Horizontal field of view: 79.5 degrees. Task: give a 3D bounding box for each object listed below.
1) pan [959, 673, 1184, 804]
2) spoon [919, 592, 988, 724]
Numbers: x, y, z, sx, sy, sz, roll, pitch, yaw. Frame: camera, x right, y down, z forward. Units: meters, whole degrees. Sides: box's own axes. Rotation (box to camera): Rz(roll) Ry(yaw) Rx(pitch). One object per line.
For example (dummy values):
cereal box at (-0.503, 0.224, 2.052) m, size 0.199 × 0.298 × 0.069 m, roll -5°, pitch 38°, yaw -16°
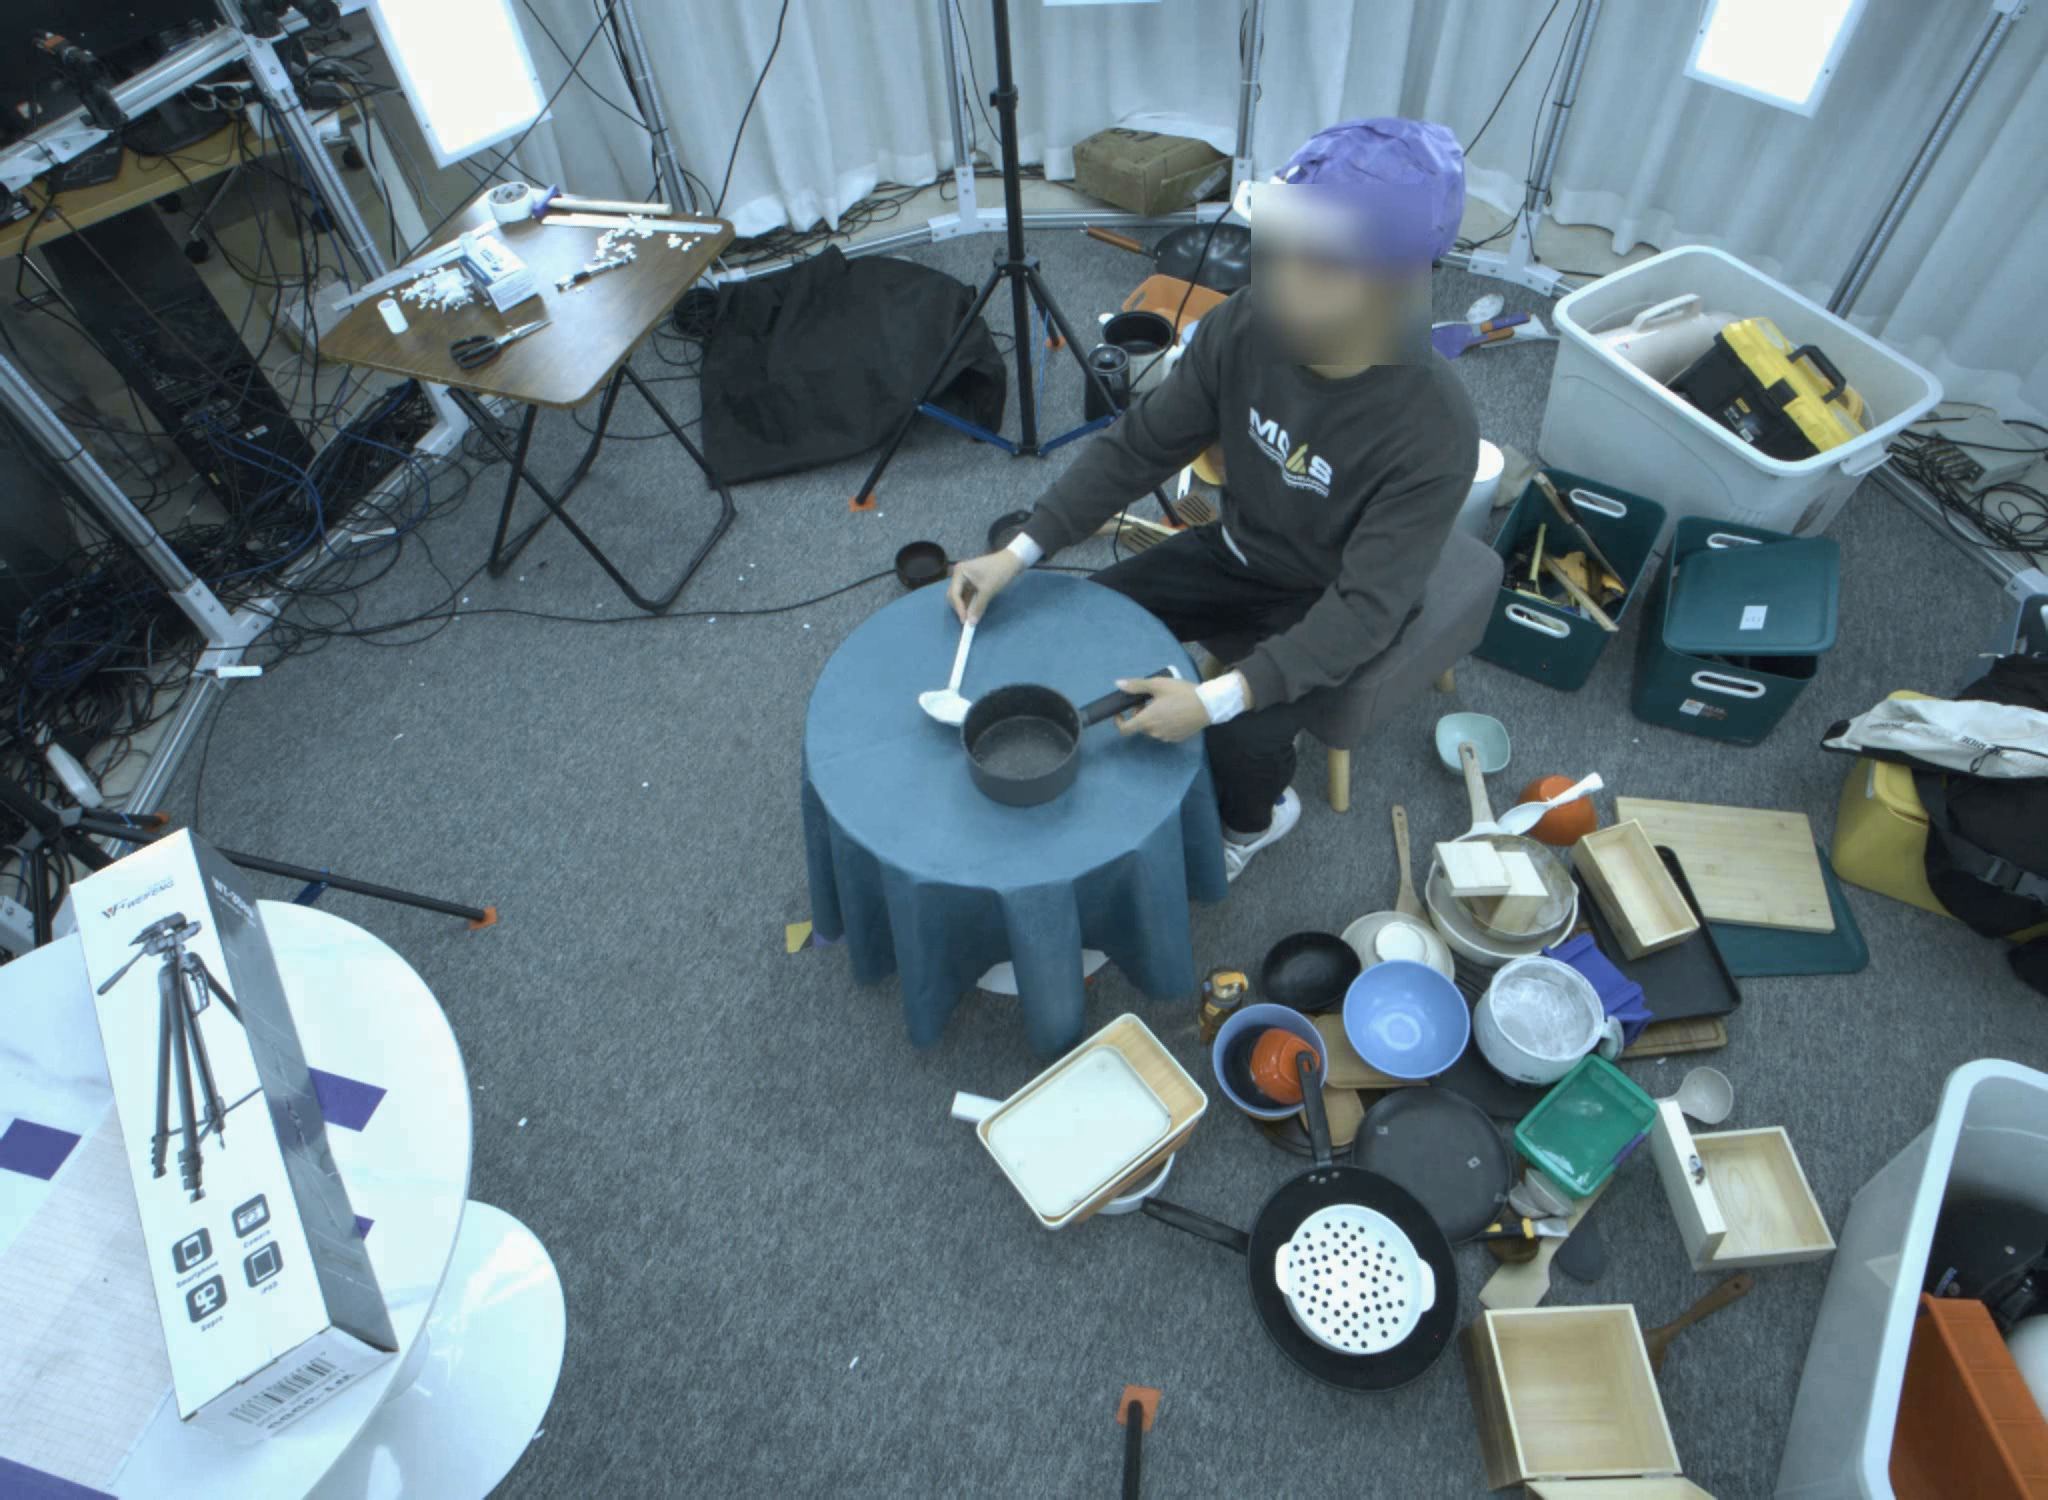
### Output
pan at (0.072, -0.033, 1.765) m, size 0.331 × 0.087 × 0.169 m, roll -17°, pitch 57°, yaw -10°
spoon at (-0.084, -0.146, 1.860) m, size 0.101 × 0.059 × 0.276 m, roll 20°, pitch 59°, yaw -8°
